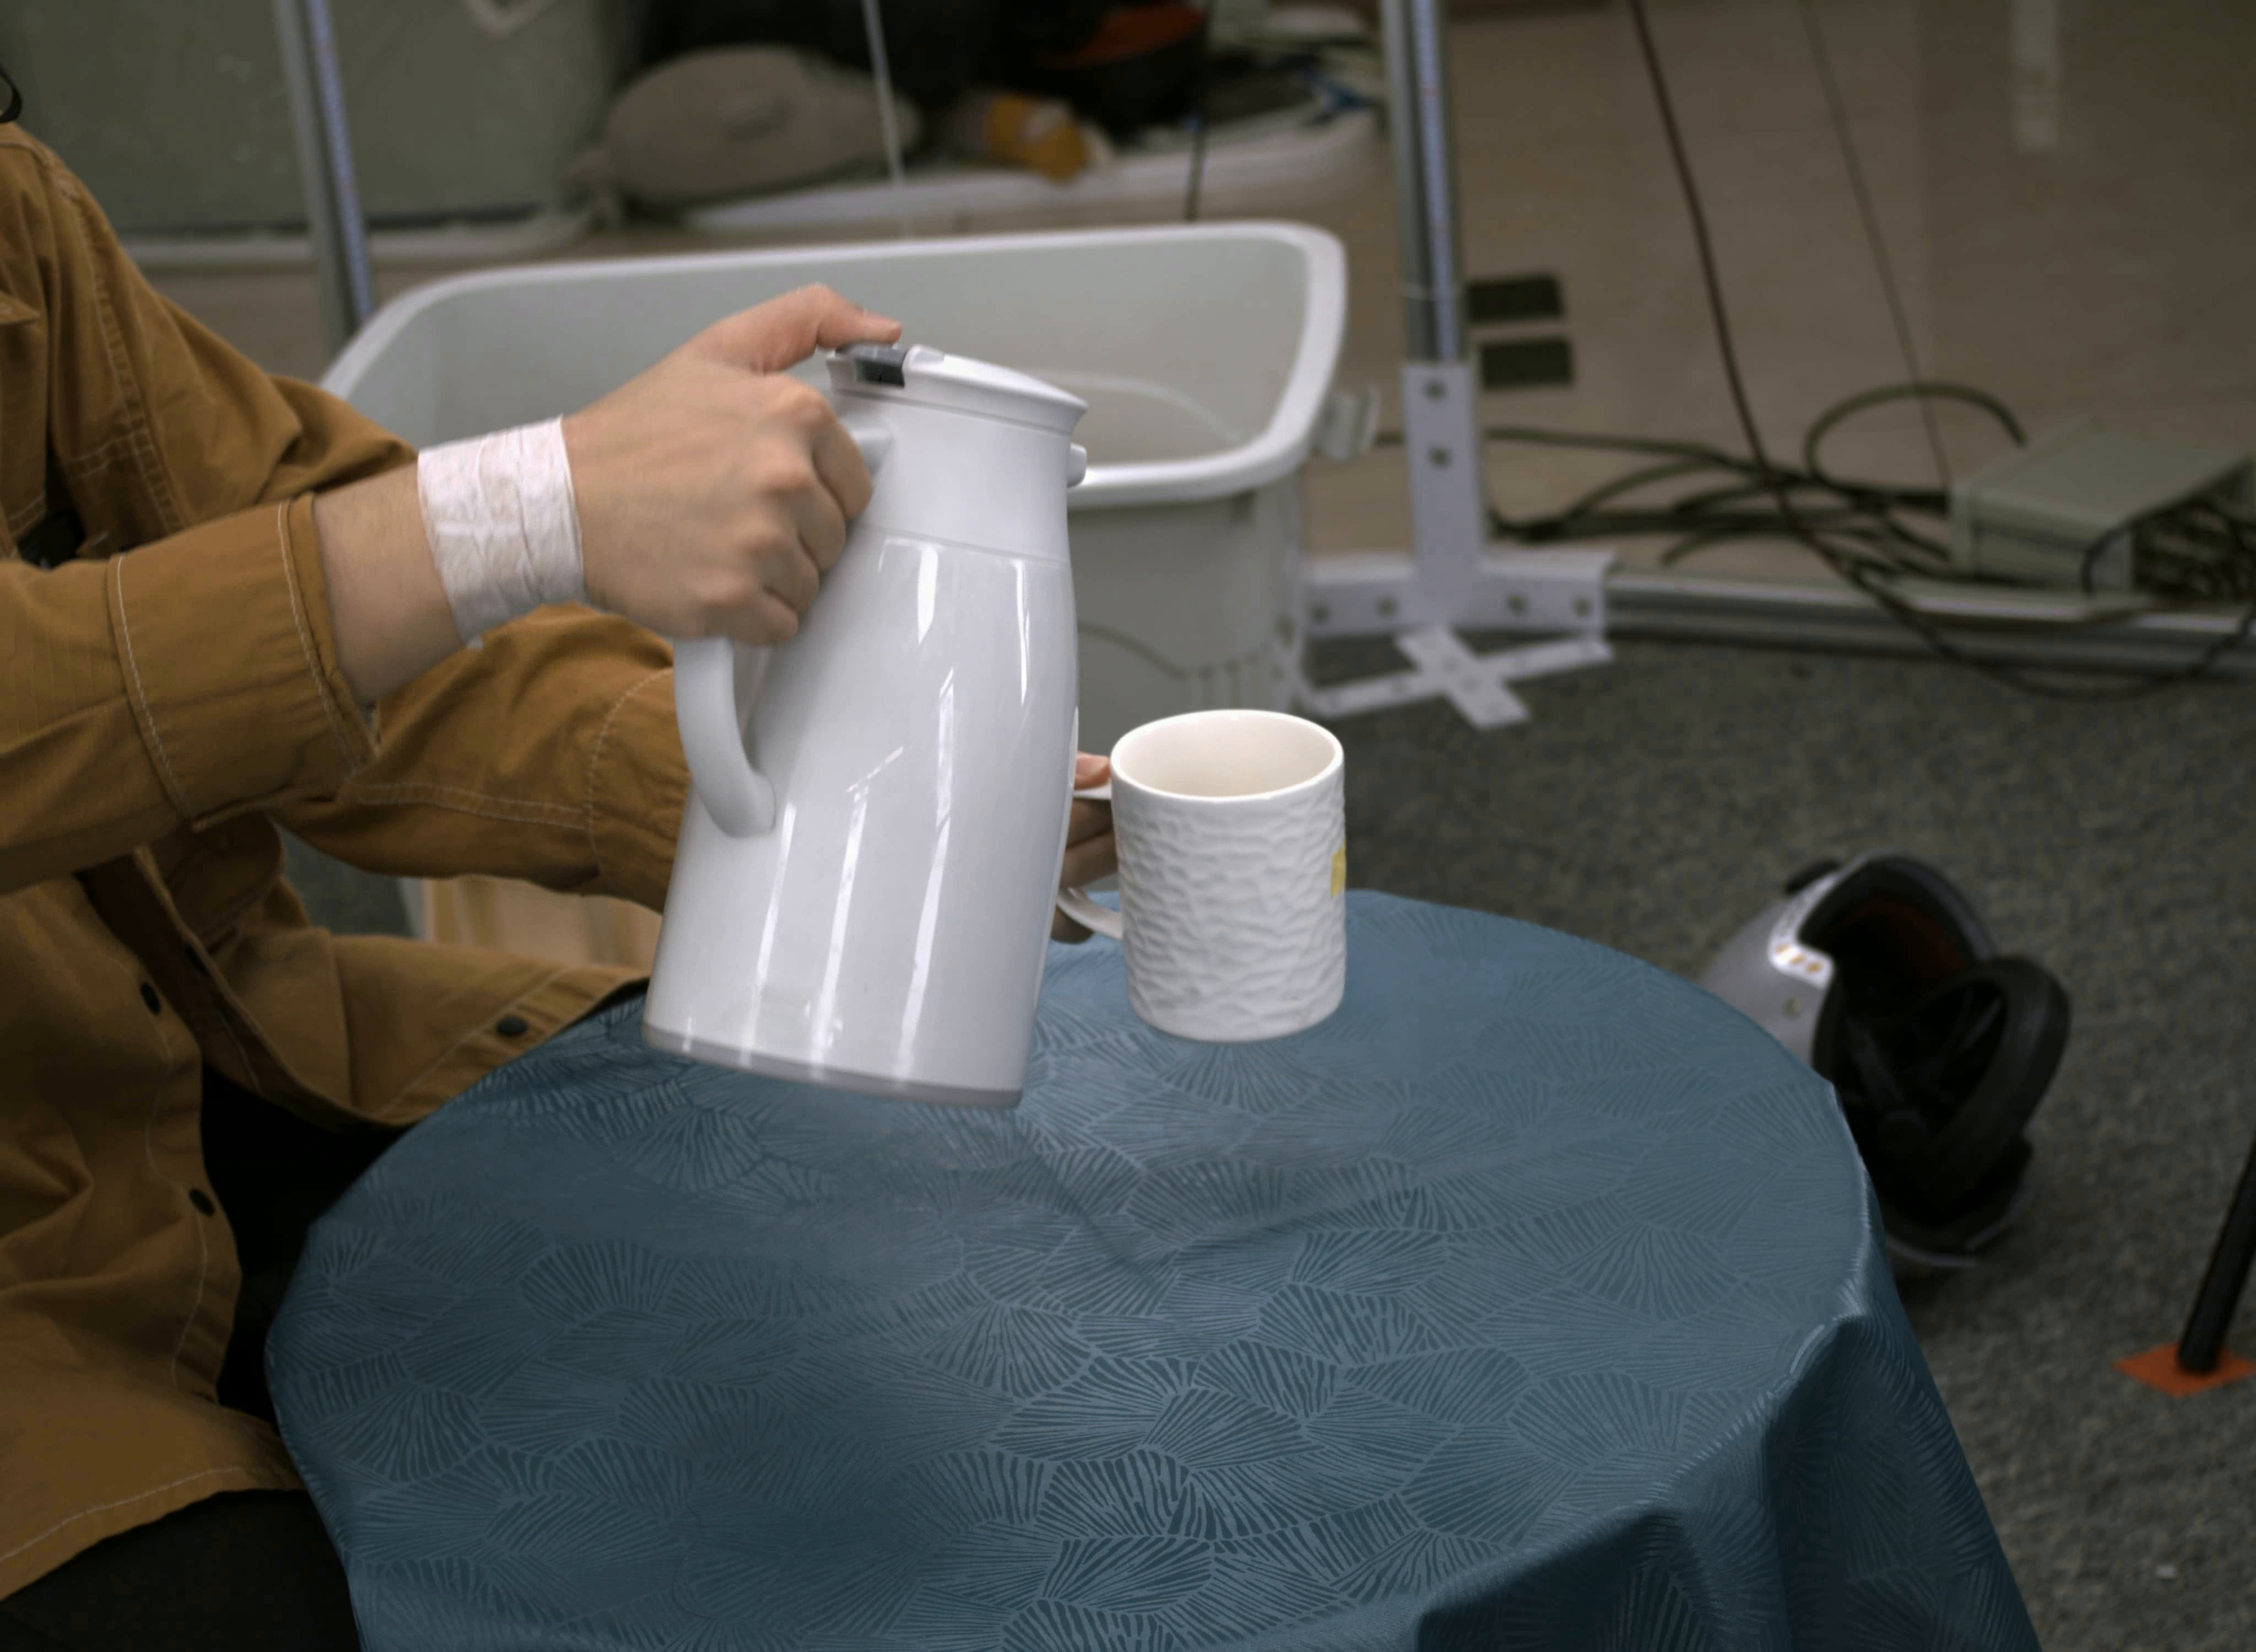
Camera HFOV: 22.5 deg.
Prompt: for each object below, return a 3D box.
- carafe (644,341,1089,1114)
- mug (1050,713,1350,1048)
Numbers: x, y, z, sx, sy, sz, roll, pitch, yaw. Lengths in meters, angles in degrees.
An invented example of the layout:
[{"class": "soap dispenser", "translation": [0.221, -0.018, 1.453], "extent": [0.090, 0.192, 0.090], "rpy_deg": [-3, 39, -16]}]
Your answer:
[{"class": "carafe", "translation": [-0.089, -0.037, 1.913], "extent": [0.132, 0.249, 0.168], "rpy_deg": [14, 5, 39]}, {"class": "mug", "translation": [0.024, 0.019, 2.105], "extent": [0.118, 0.103, 0.084], "rpy_deg": [4, 25, 17]}]
